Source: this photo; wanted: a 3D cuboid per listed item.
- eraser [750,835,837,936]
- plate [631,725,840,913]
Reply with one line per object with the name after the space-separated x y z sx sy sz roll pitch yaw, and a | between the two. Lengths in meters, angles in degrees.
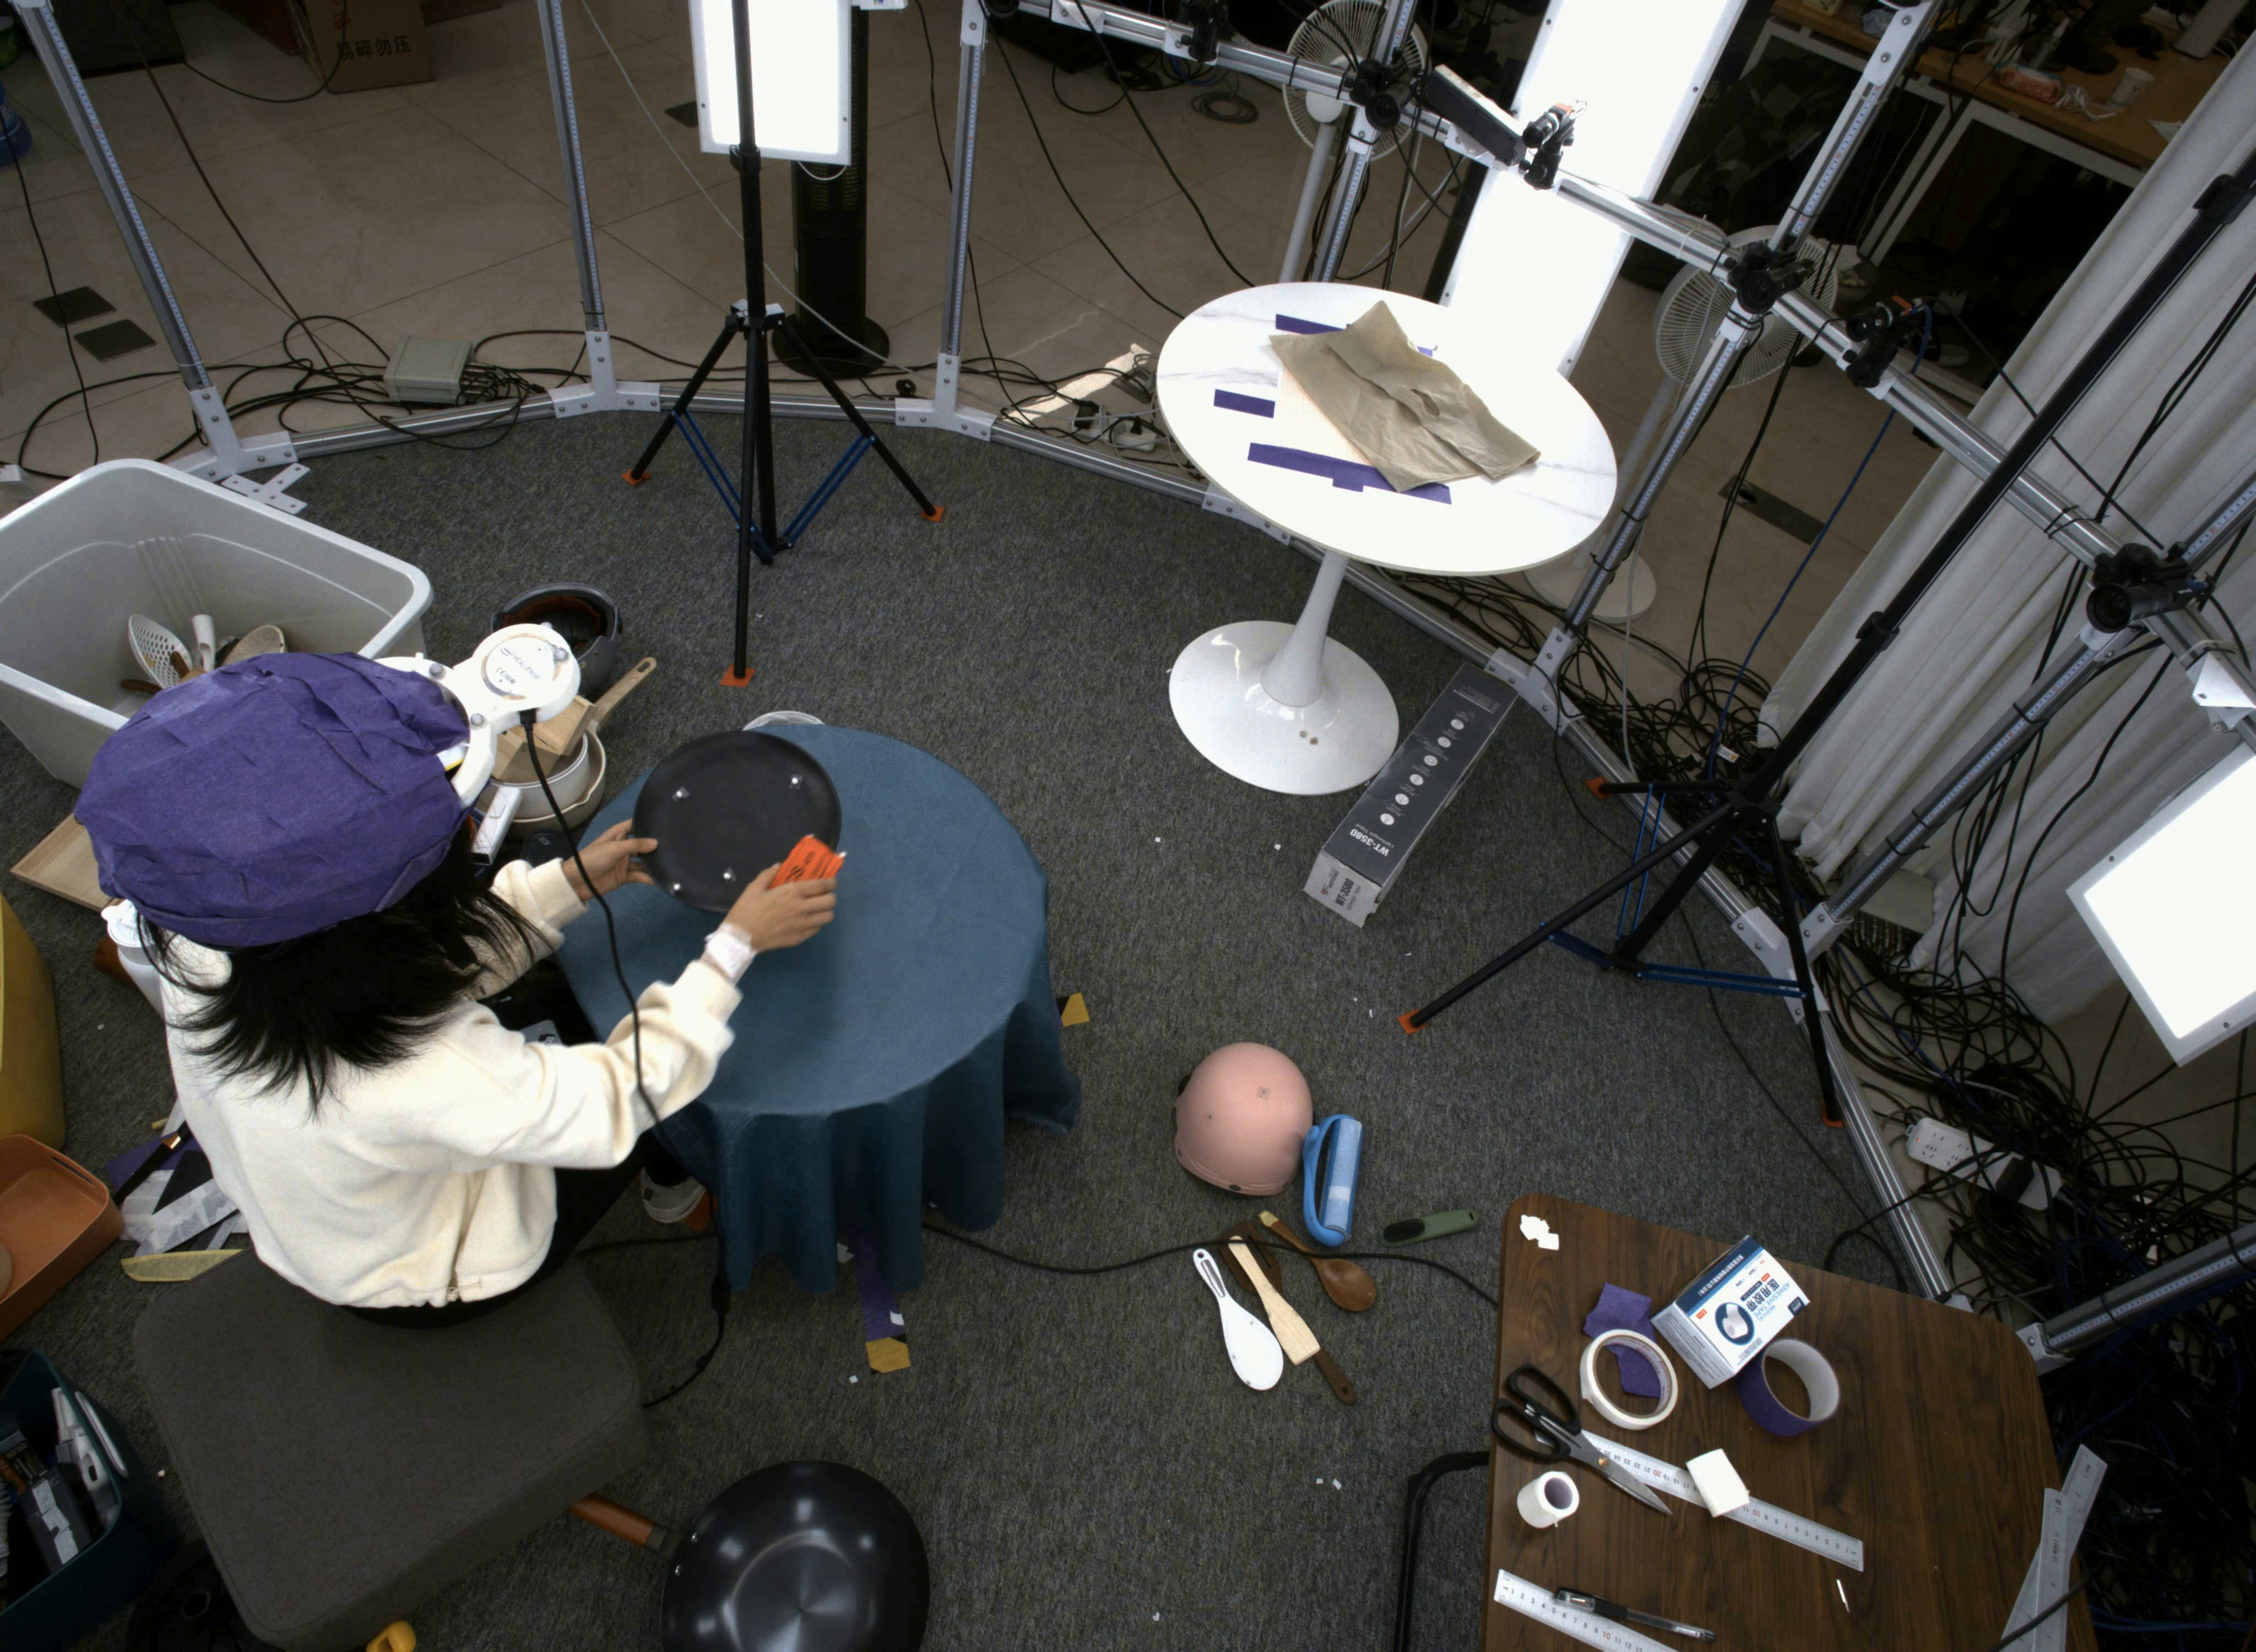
-0.385 0.067 1.495 0.059 0.023 0.107 33 65 -11 | eraser
-0.466 -0.009 1.537 0.244 0.024 0.242 6 65 -10 | plate
